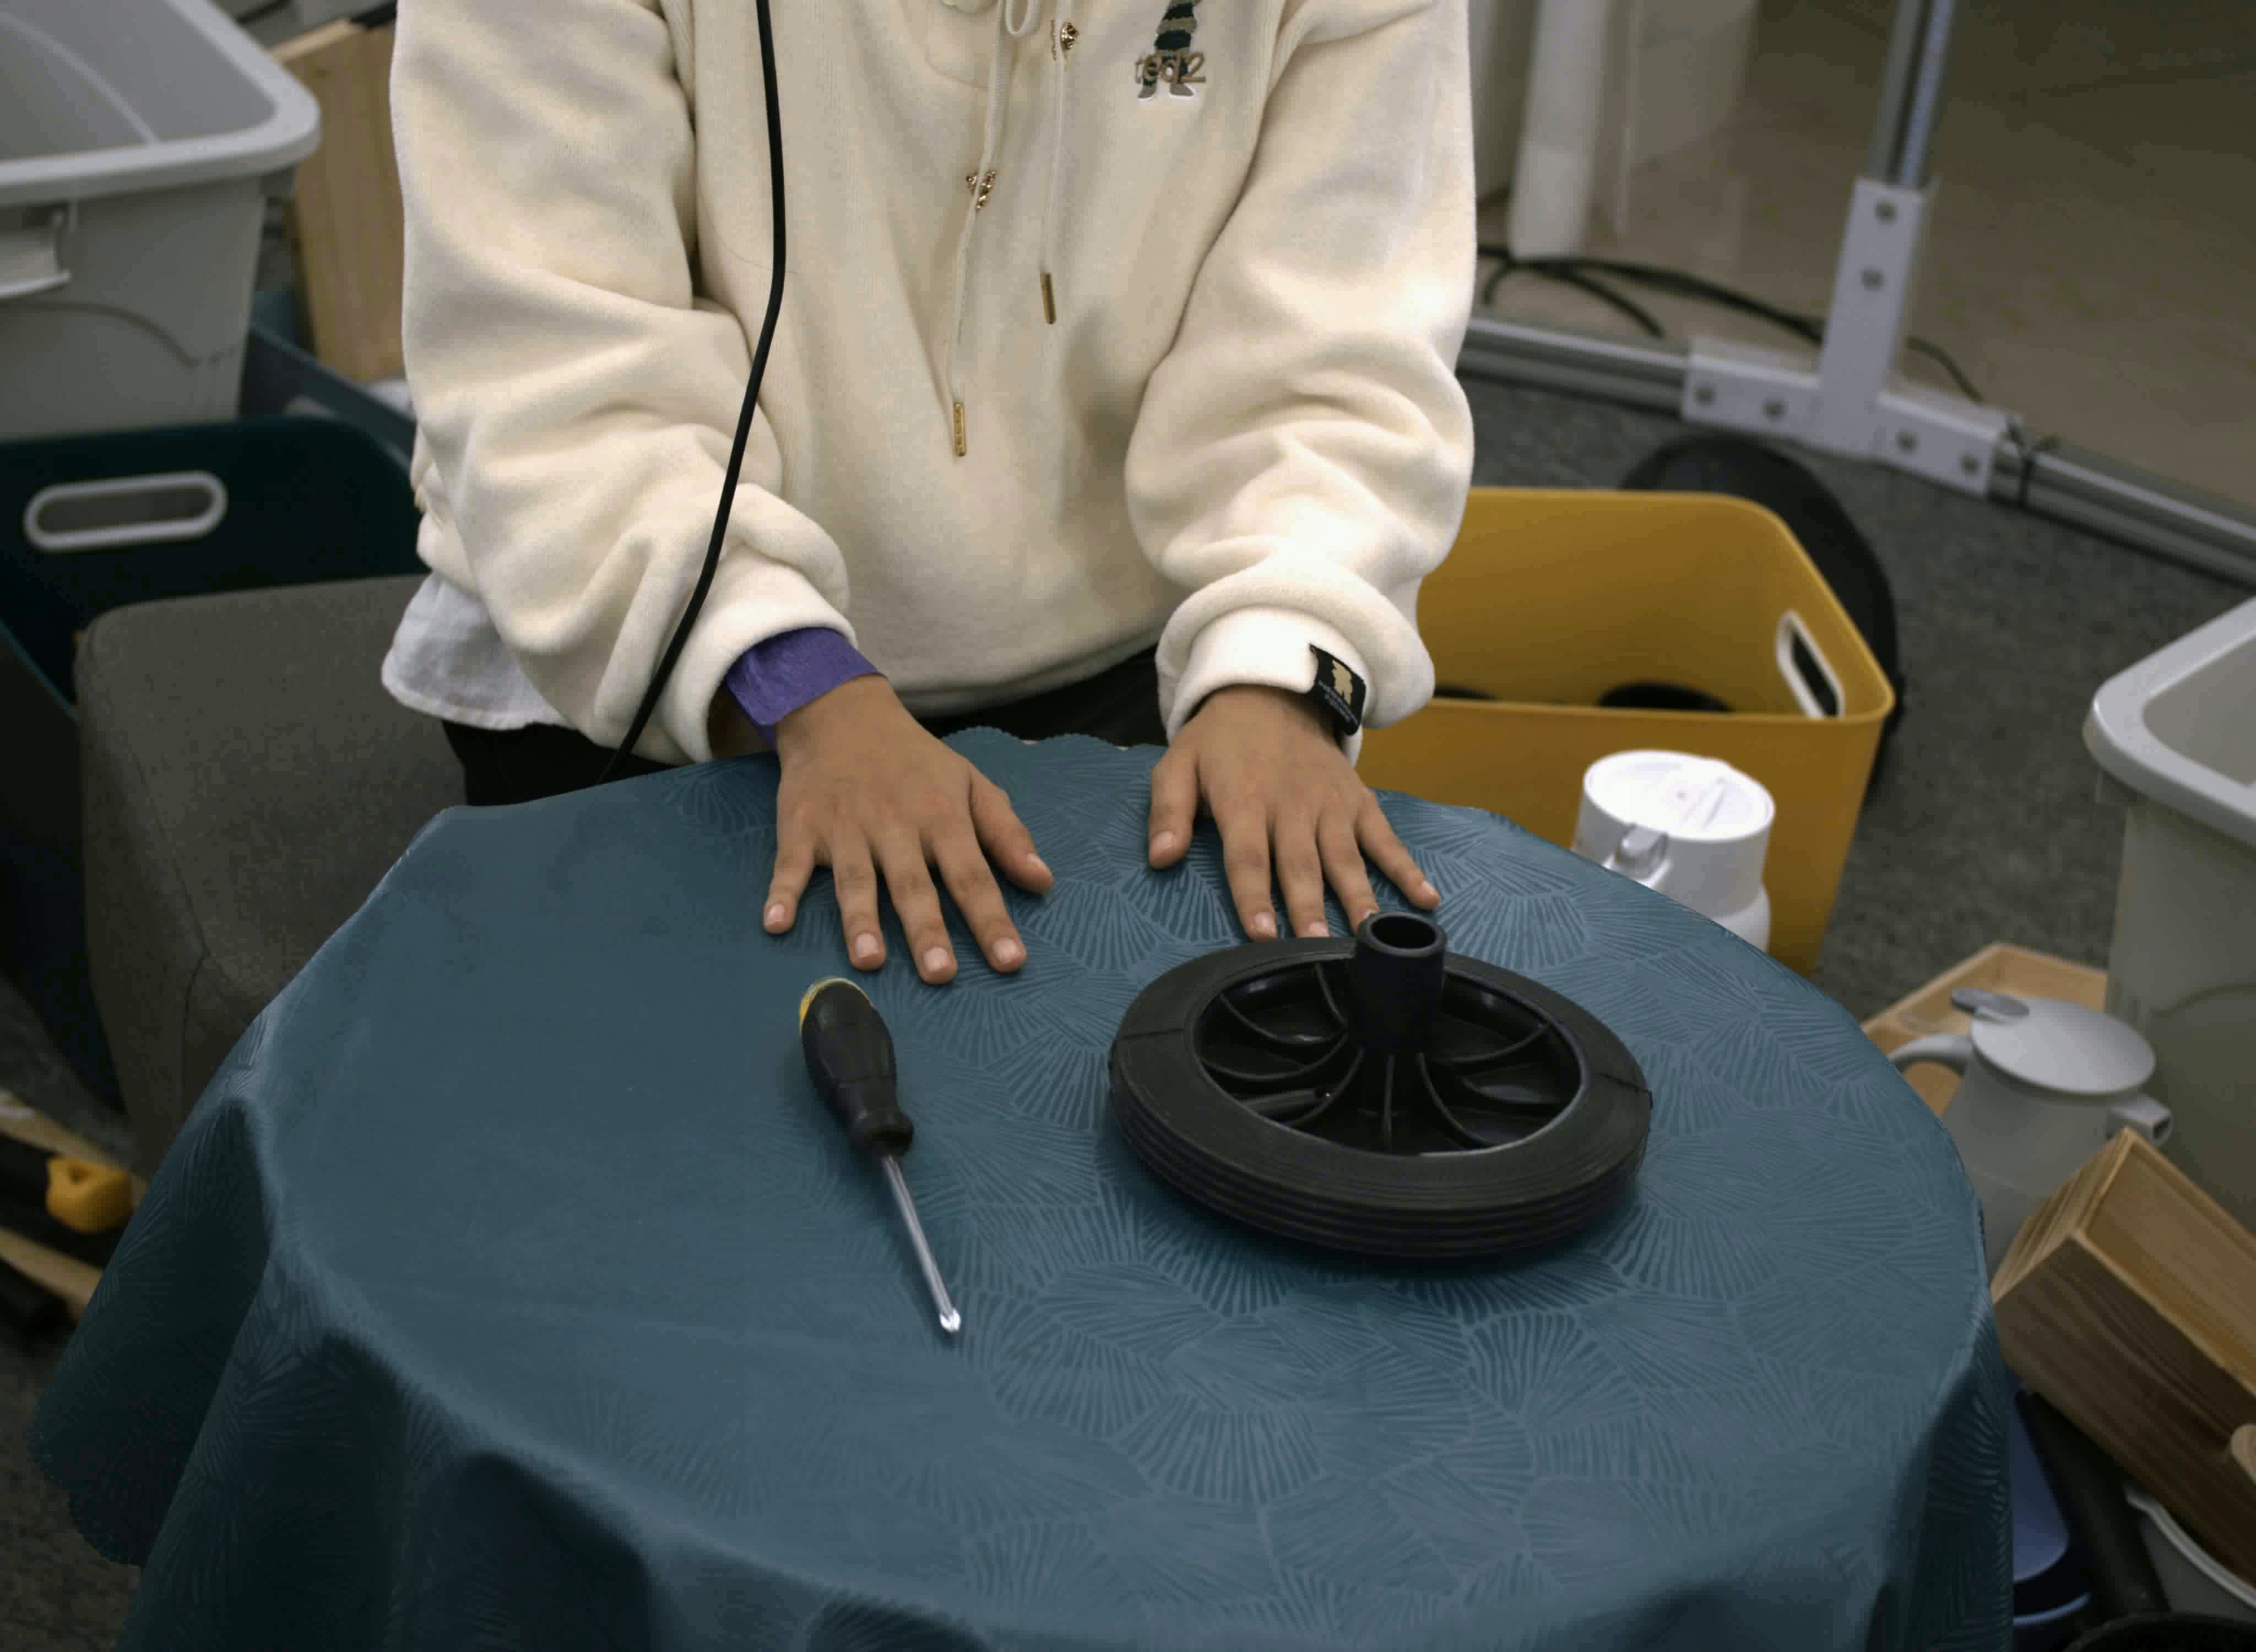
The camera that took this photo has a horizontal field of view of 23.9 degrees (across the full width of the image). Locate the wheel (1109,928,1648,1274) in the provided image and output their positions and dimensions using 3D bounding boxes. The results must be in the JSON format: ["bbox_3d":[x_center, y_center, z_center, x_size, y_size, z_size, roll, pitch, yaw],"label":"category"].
[{"bbox_3d":[0.088,0.077,1.832,0.188,0.079,0.189,24,34,30],"label":"wheel"}]

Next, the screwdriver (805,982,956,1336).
[{"bbox_3d":[-0.077,0.111,1.784,0.031,0.031,0.198,-2,30,-18],"label":"screwdriver"}]
